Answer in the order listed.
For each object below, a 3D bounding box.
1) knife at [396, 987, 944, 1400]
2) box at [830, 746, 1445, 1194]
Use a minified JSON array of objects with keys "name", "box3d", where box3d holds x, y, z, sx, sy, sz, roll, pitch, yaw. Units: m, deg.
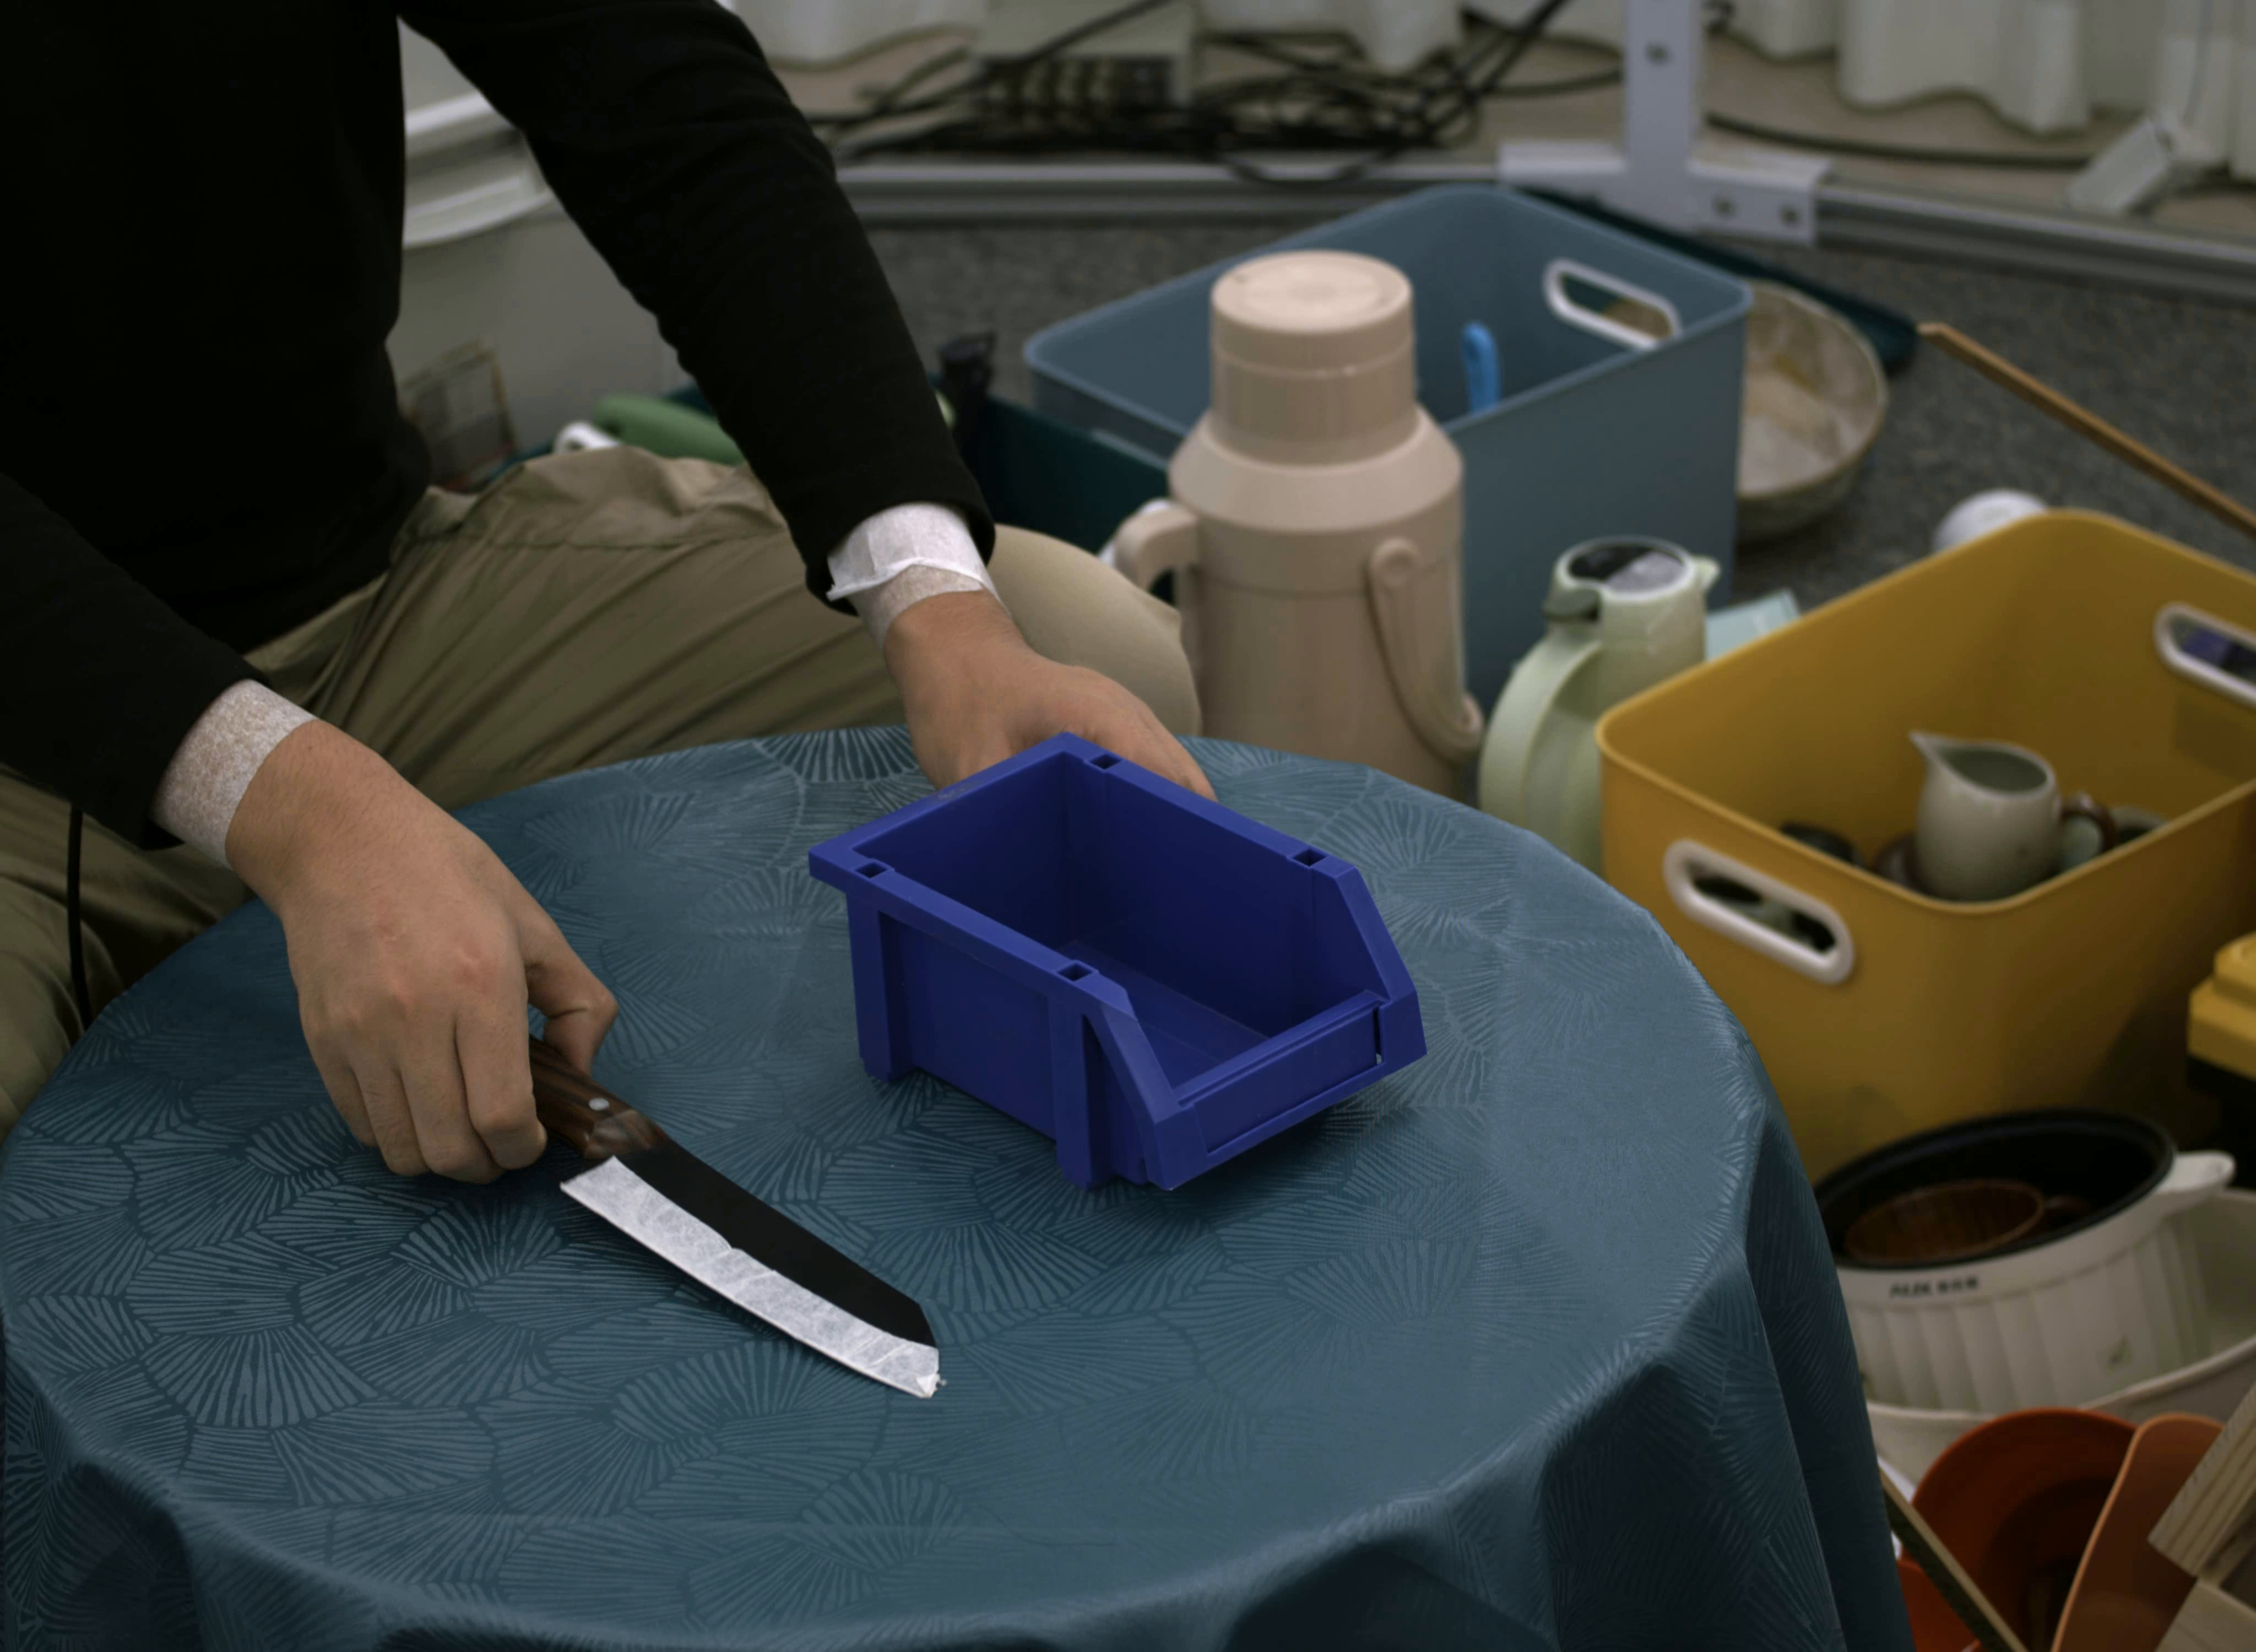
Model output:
[{"name":"knife","box3d":[-0.153,0.121,1.850,0.051,0.020,0.289,-27,40,-32]},{"name":"box","box3d":[0.004,0.052,1.907,0.126,0.081,0.179,-23,31,-35]}]
